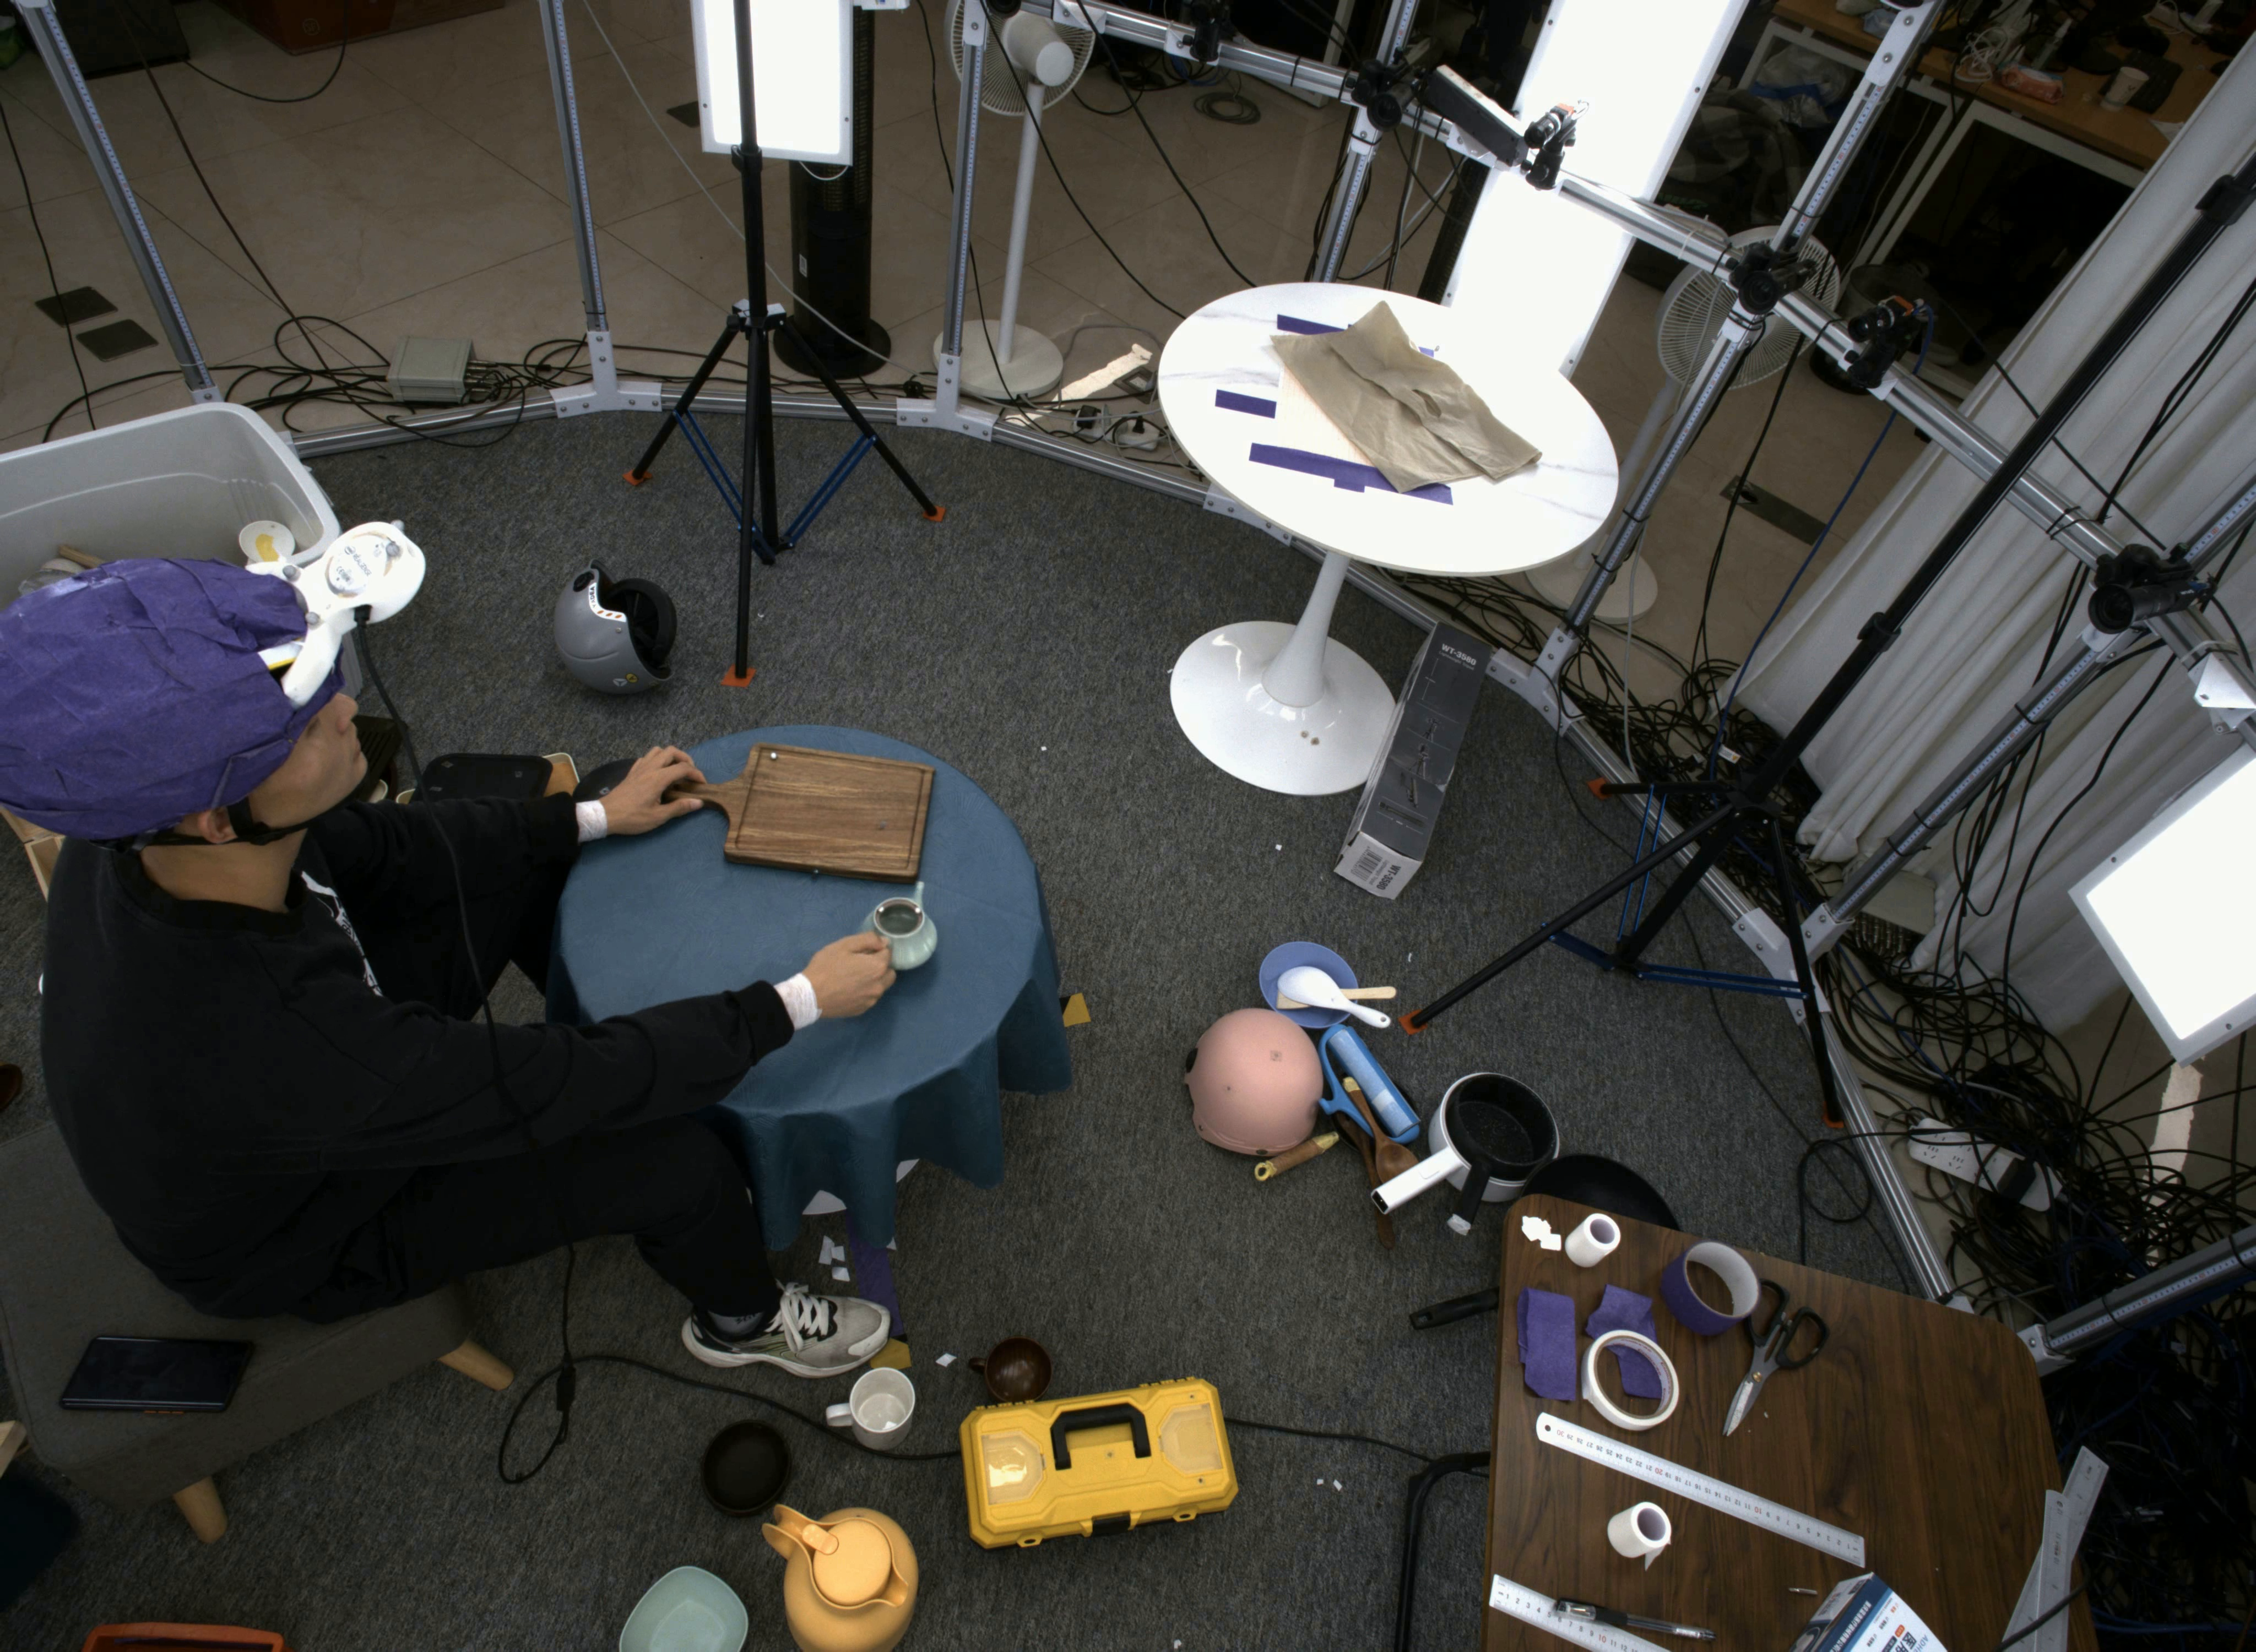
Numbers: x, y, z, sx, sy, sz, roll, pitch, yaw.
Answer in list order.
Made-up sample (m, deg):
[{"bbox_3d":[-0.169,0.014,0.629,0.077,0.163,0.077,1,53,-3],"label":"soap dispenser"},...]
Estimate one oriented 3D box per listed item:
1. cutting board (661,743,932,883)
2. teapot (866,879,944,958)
[{"bbox_3d":[-0.443,-0.026,1.722,0.352,0.023,0.197,7,52,-10],"label":"cutting board"},{"bbox_3d":[-0.276,0.119,1.582,0.093,0.063,0.136,1,26,19],"label":"teapot"}]
